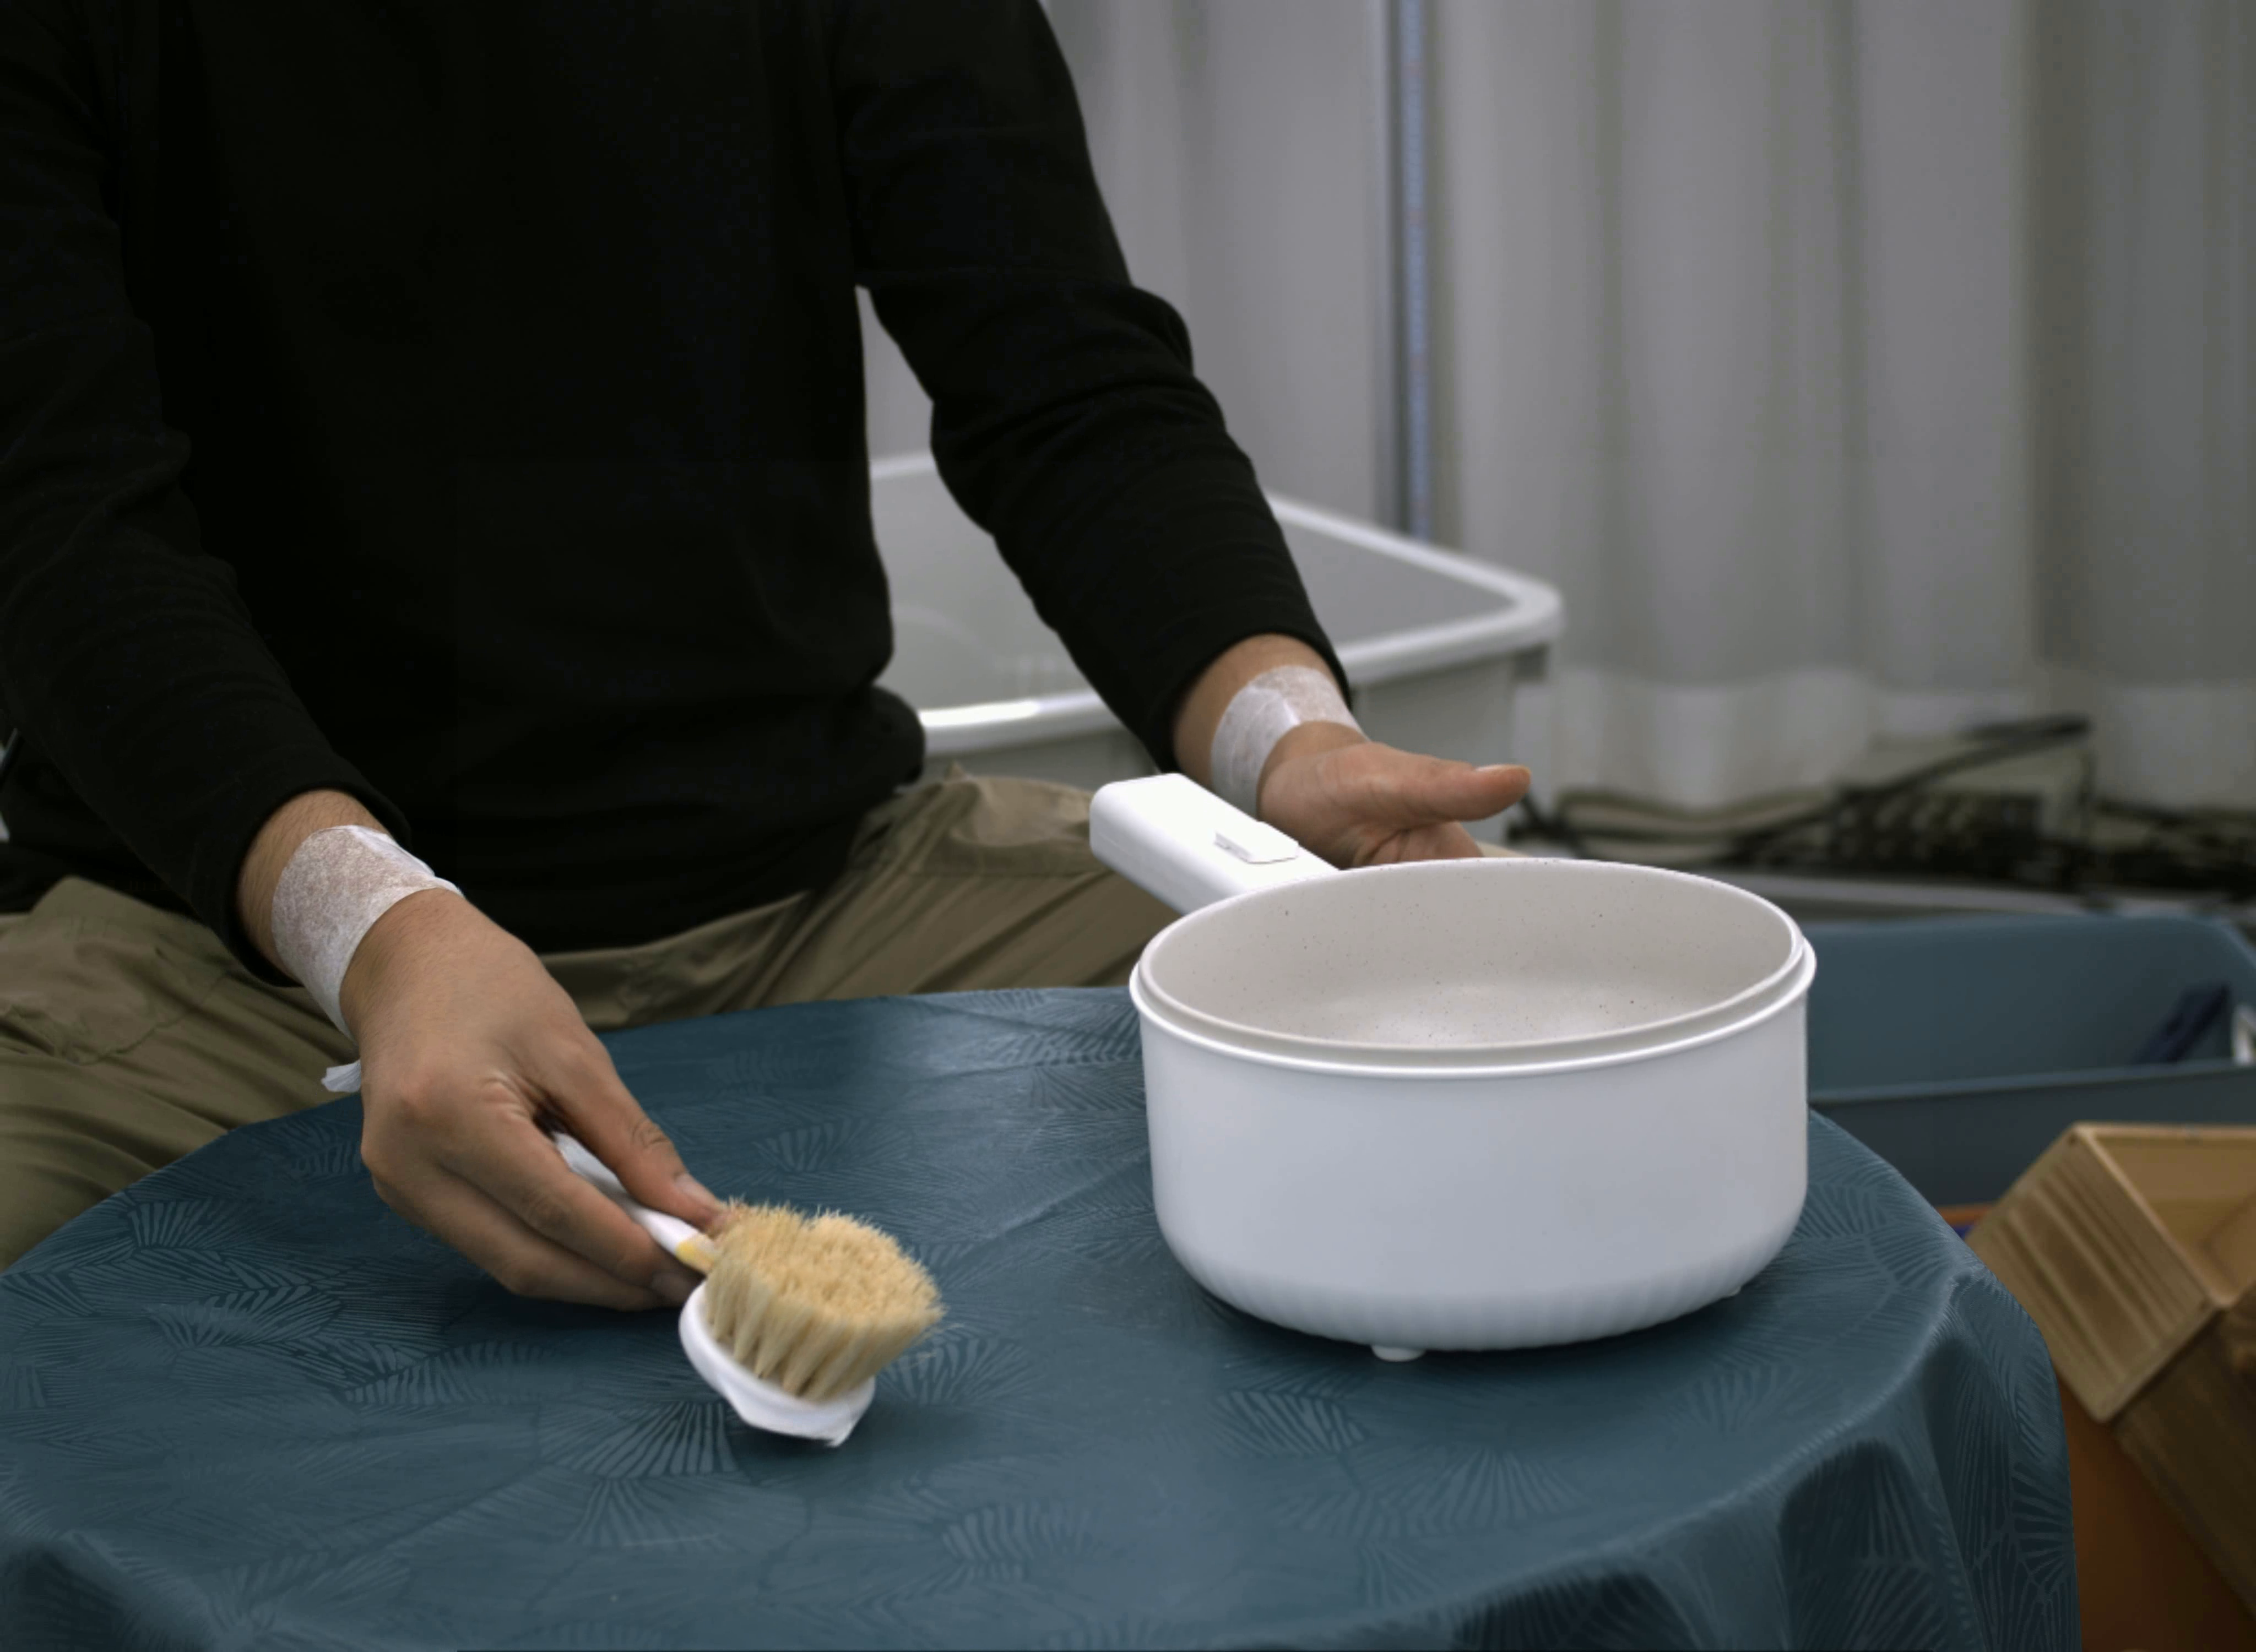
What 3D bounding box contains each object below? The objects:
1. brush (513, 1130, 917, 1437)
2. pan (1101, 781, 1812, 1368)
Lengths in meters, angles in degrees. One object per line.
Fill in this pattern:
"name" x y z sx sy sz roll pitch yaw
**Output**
"brush" -0.131 0.111 1.616 0.068 0.056 0.268 26 3 -23
"pan" 0.074 0.070 1.684 0.200 0.102 0.357 -10 15 -20
